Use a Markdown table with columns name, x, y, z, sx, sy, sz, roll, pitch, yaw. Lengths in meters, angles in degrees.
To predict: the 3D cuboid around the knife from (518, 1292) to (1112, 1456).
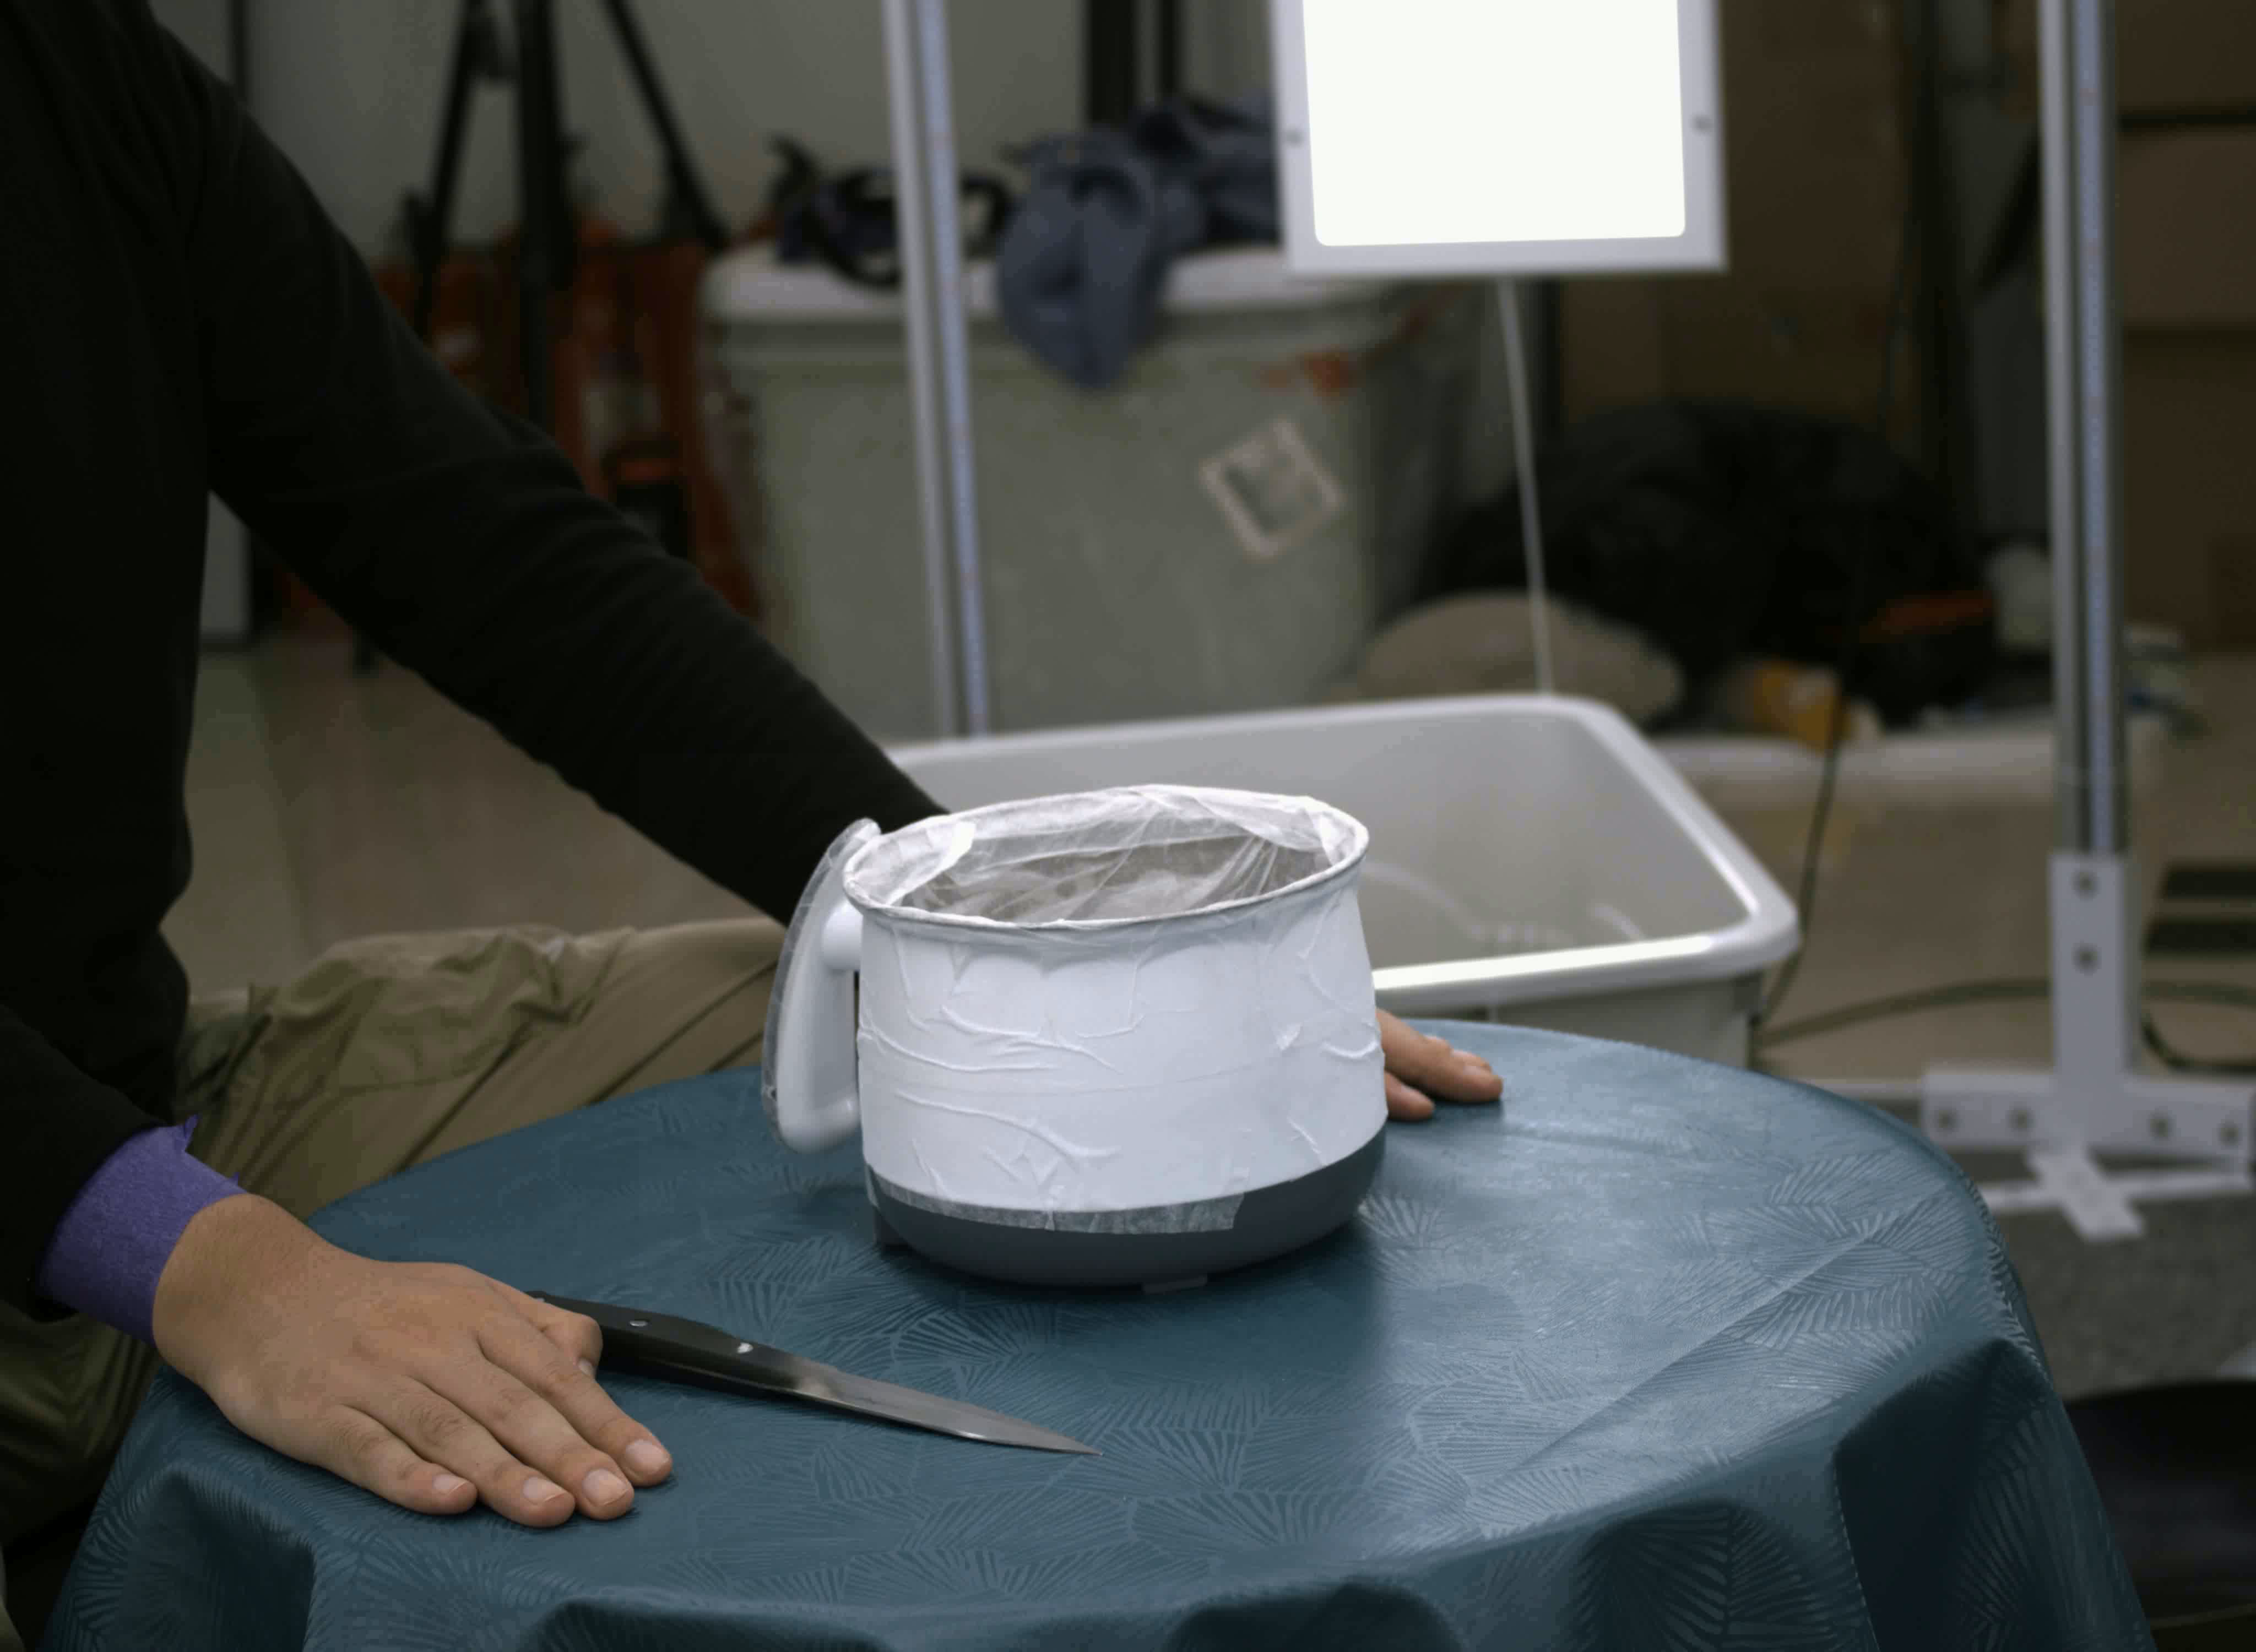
| name | x | y | z | sx | sy | sz | roll | pitch | yaw |
| --- | --- | --- | --- | --- | --- | --- | --- | --- | --- |
| knife | -0.103 | 0.174 | 1.723 | 0.243 | 0.016 | 0.024 | 9 | 18 | 37 |

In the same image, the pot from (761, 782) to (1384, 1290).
| name | x | y | z | sx | sy | sz | roll | pitch | yaw |
| --- | --- | --- | --- | --- | --- | --- | --- | --- | --- |
| pot | -0.027 | 0.066 | 1.857 | 0.238 | 0.137 | 0.174 | 5 | 16 | 33 |
